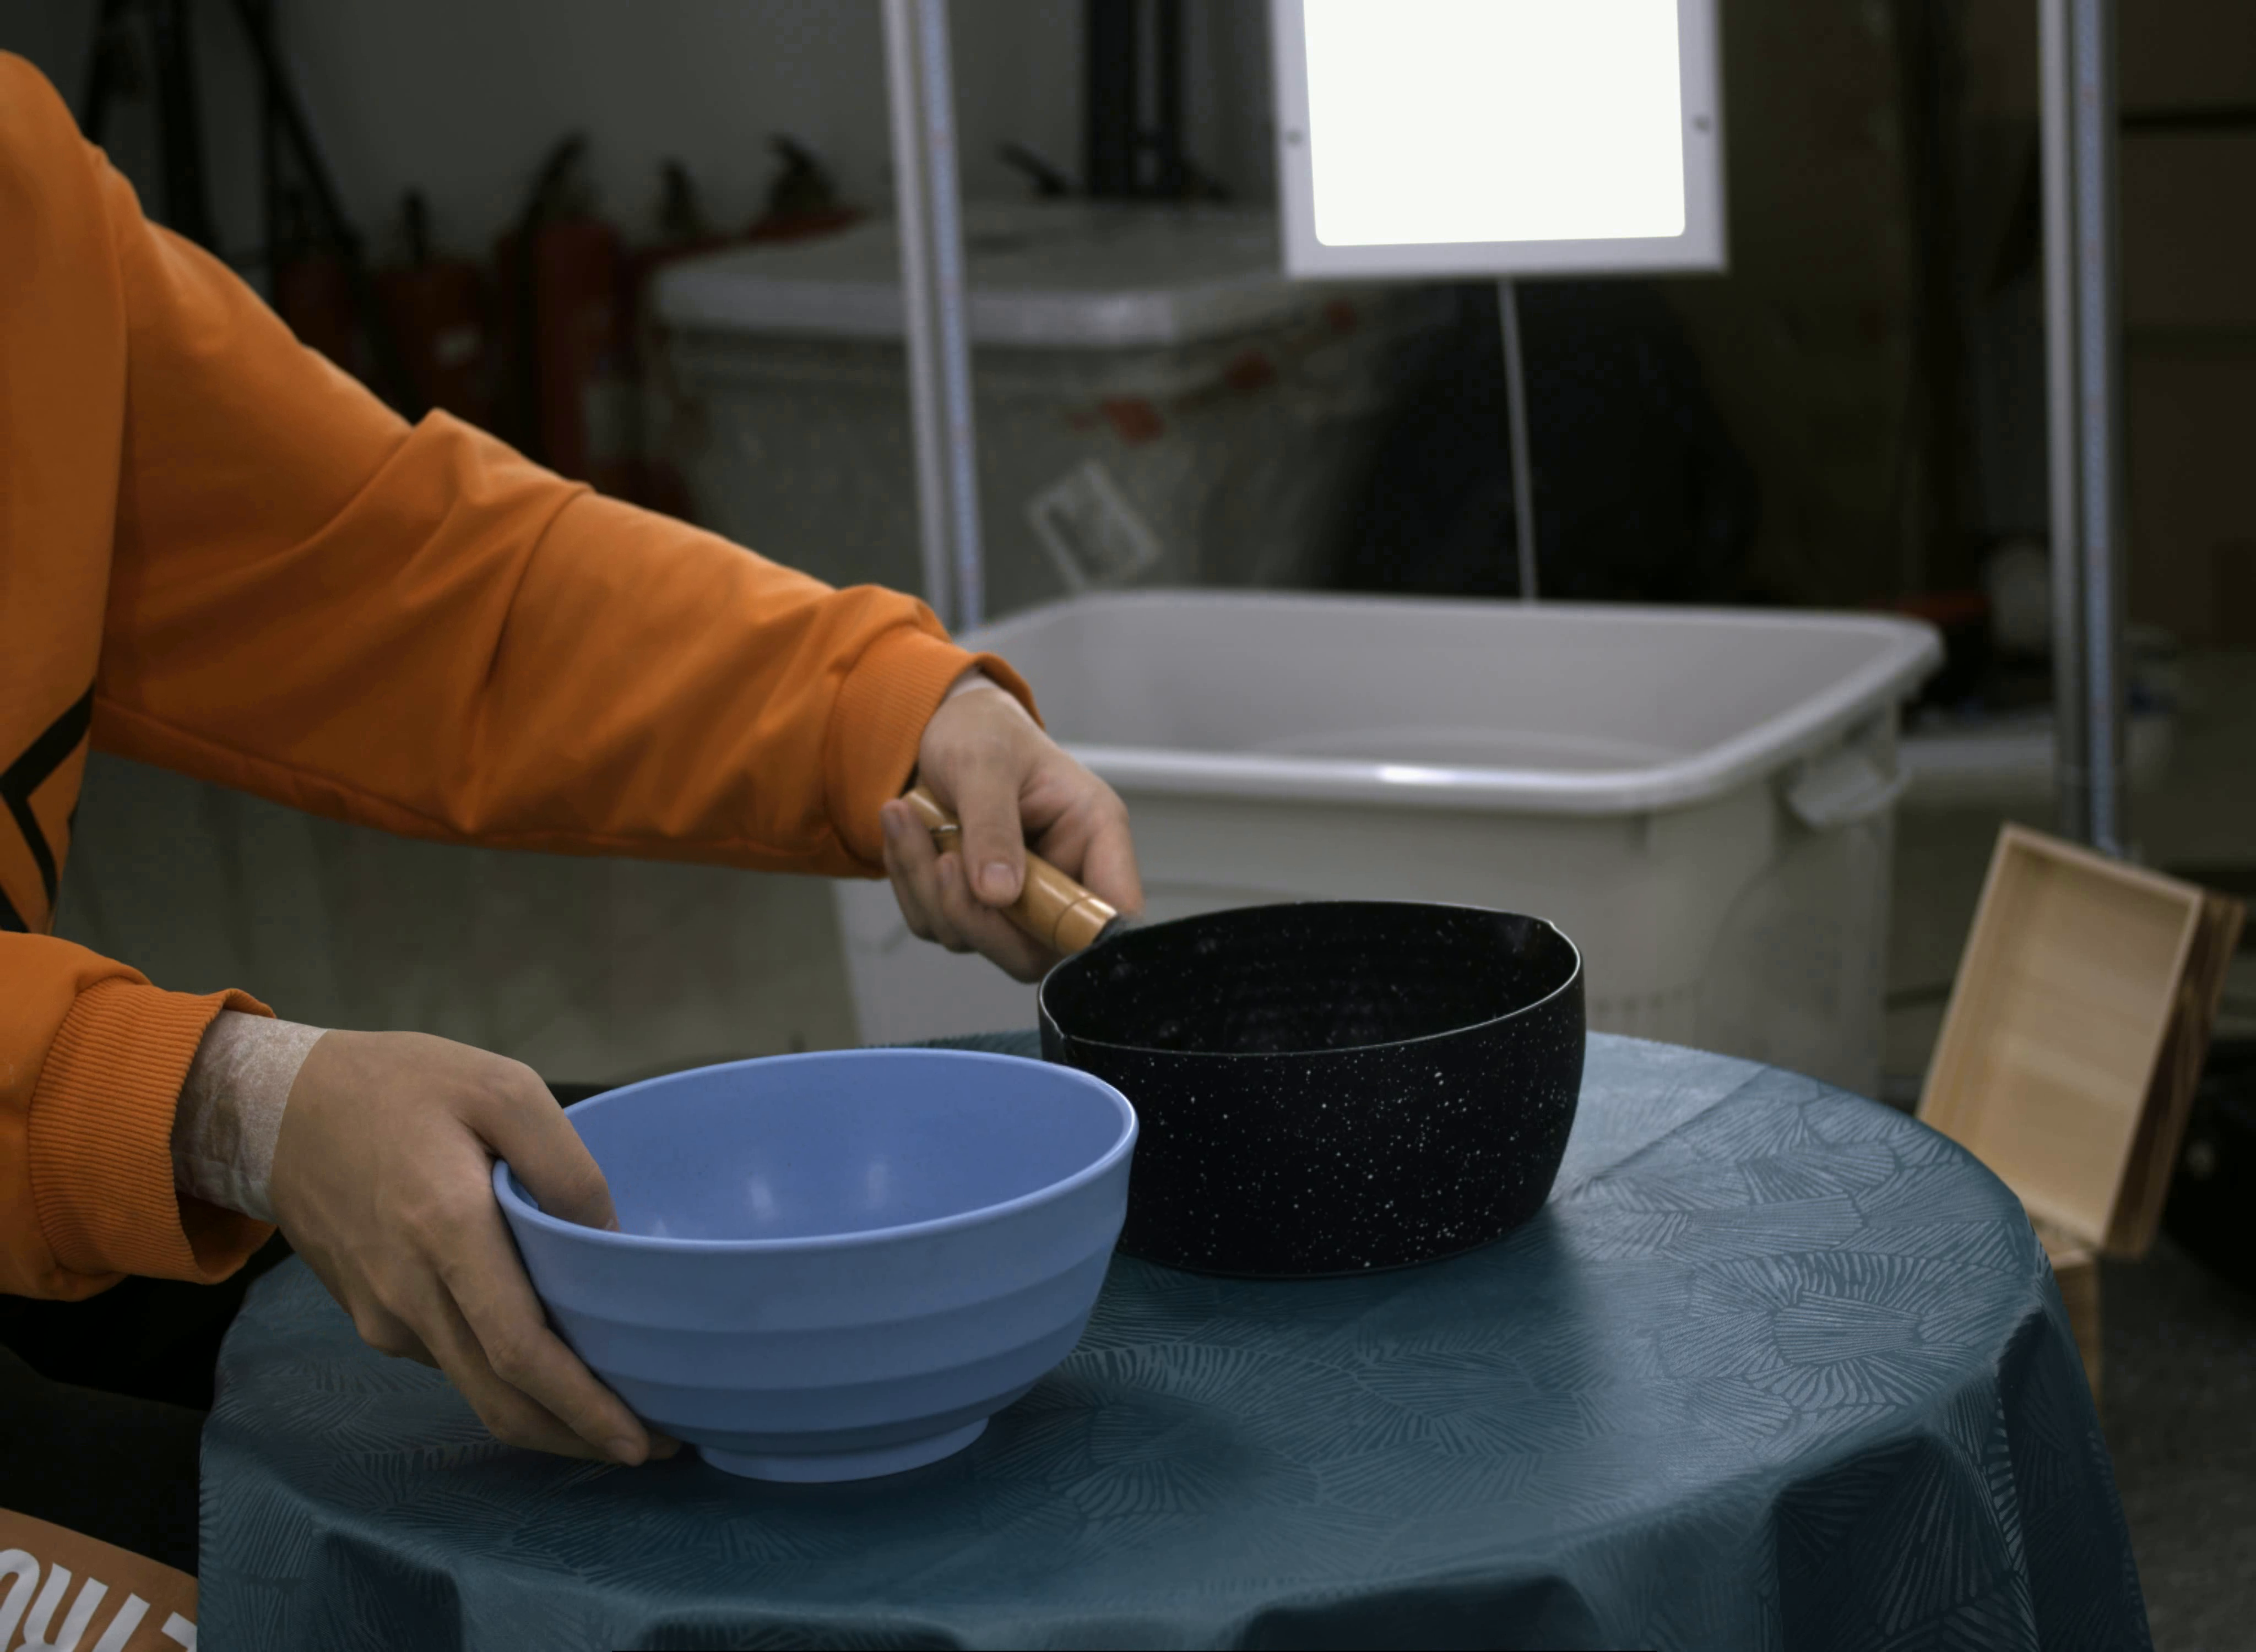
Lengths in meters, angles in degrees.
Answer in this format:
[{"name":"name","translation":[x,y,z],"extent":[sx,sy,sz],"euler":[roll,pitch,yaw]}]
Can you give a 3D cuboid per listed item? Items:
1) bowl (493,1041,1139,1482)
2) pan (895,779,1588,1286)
[{"name":"bowl","translation":[-0.091,0.139,1.678],"extent":[0.196,0.096,0.196],"euler":[-5,15,0]},{"name":"pan","translation":[0.018,0.065,1.911],"extent":[0.202,0.108,0.349],"euler":[-15,18,-32]}]
